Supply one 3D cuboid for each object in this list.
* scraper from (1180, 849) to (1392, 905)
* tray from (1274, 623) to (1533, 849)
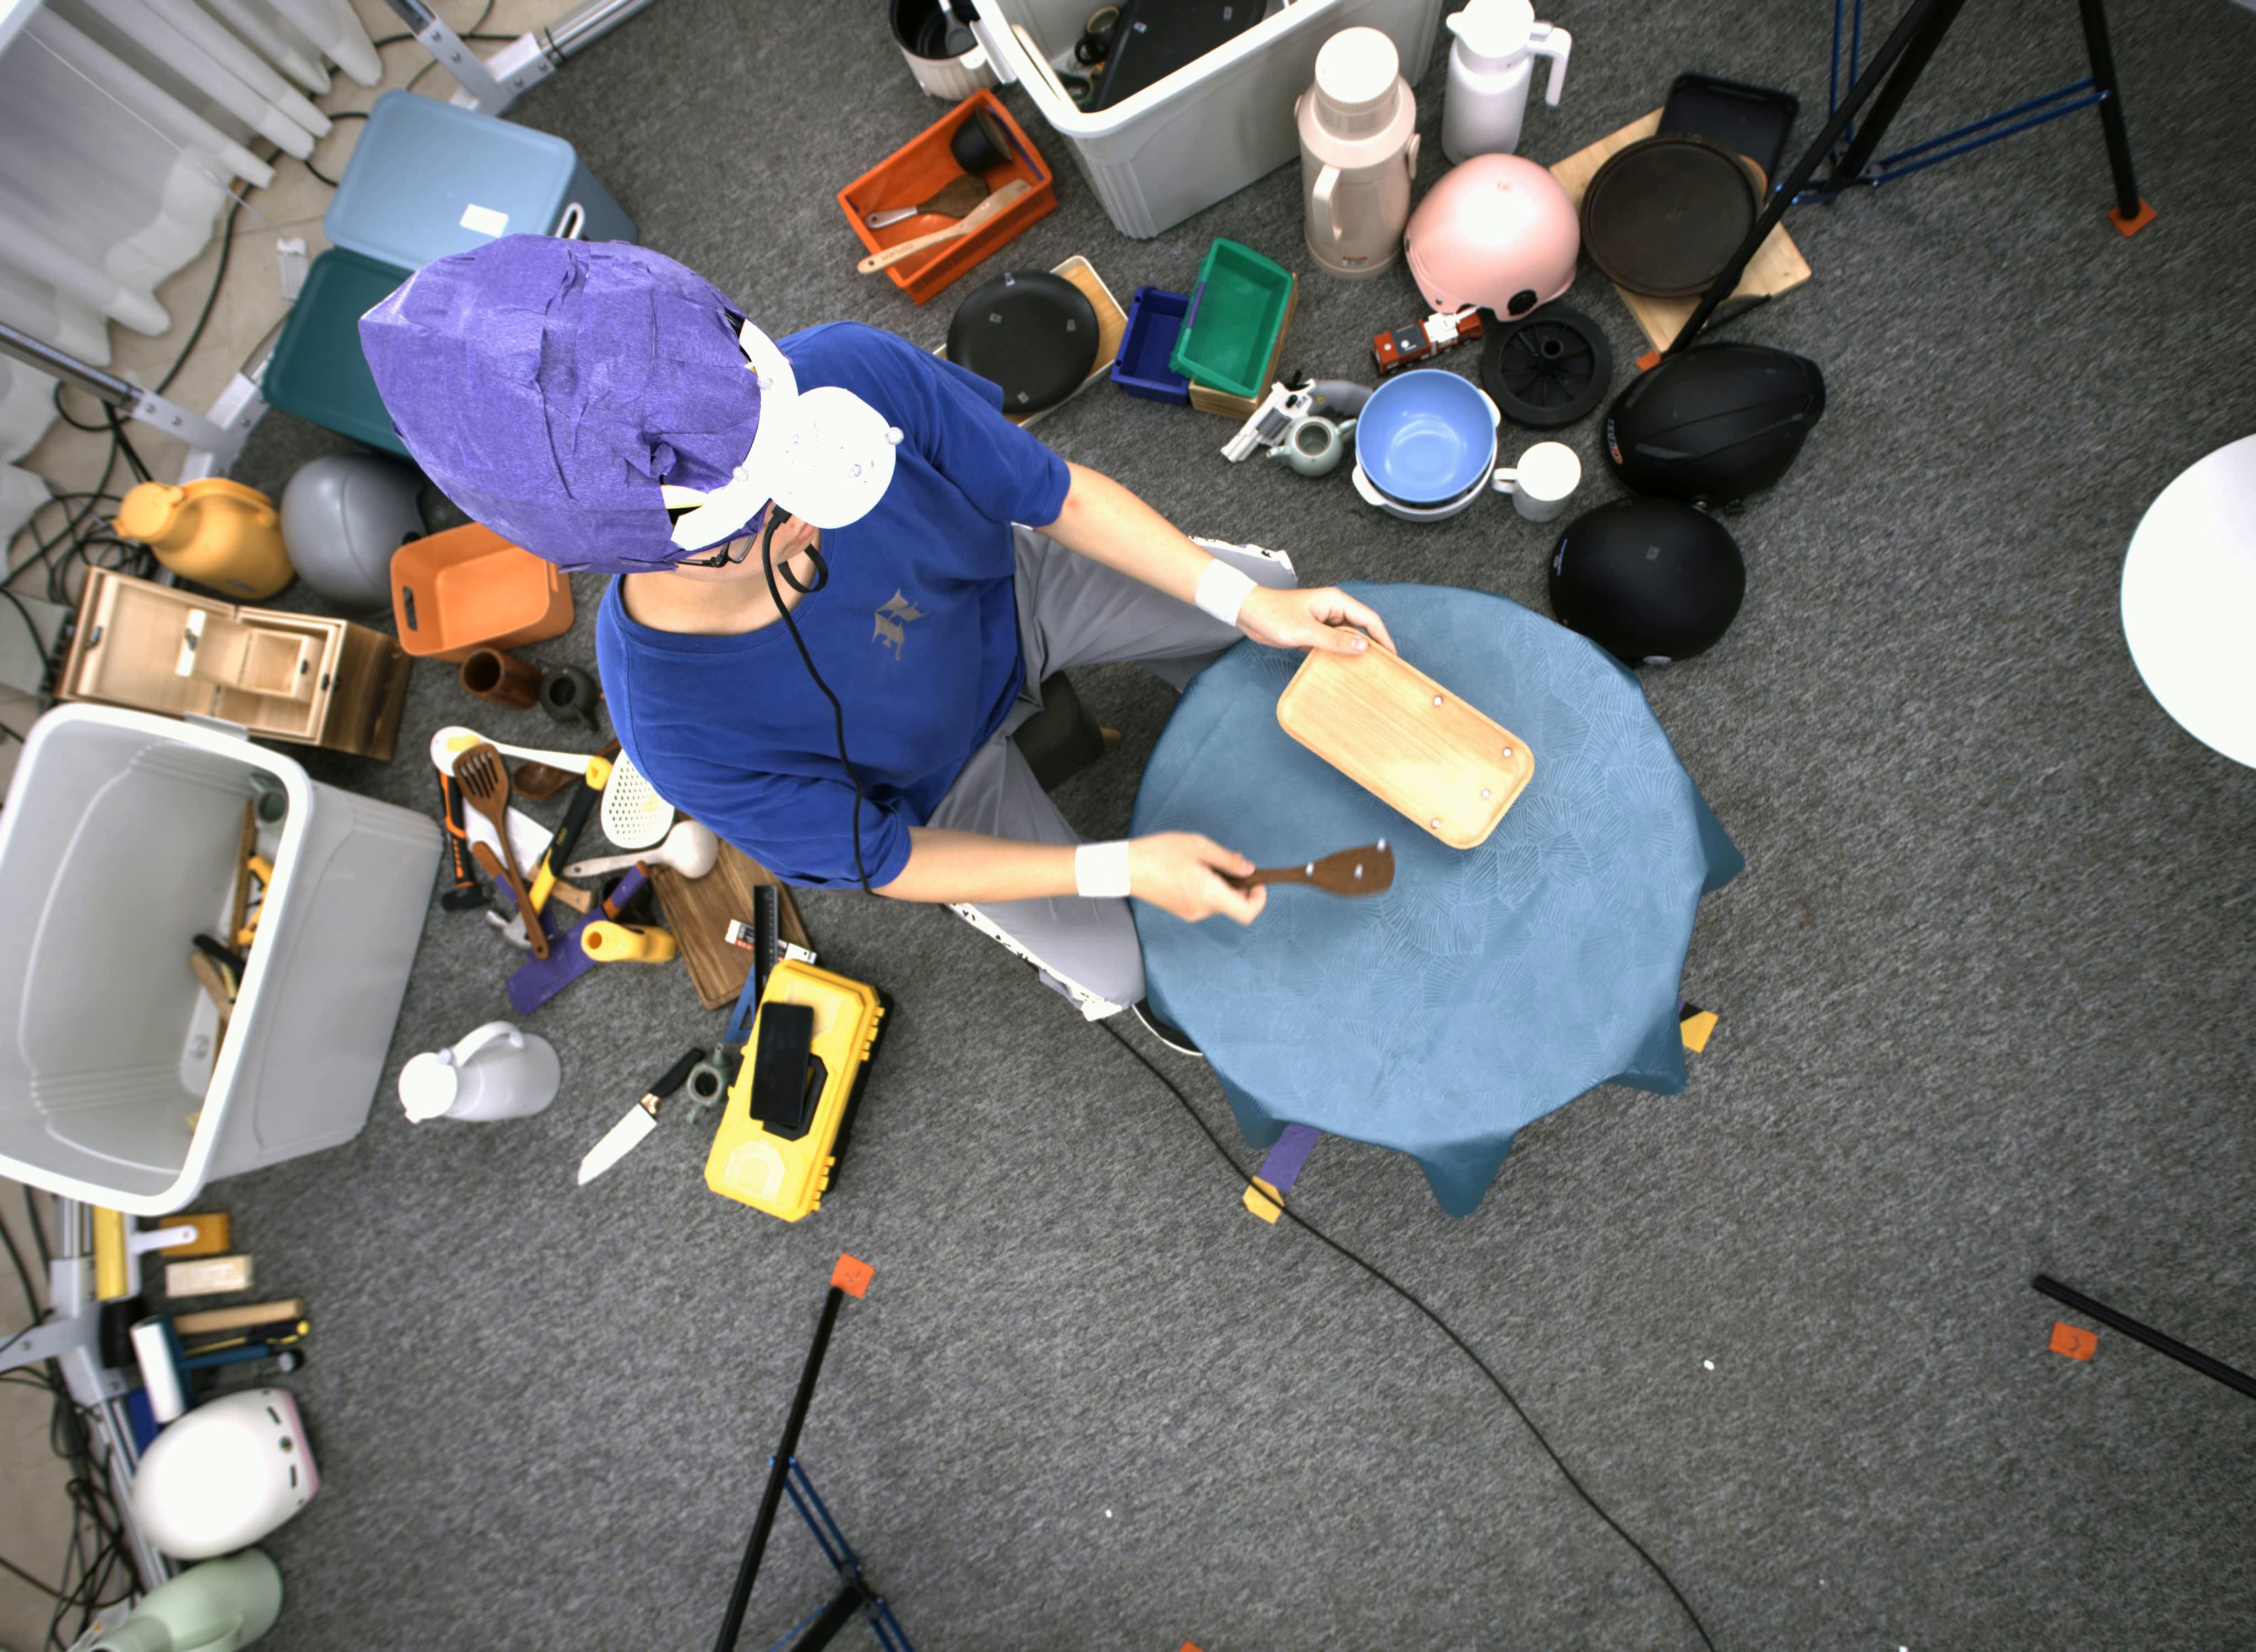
[{"bbox_3d":[0.155,0.054,1.373,0.212,0.011,0.074,-3,42,14],"label":"scraper"},{"bbox_3d":[0.273,-0.091,1.371,0.250,0.022,0.132,37,109,7],"label":"tray"}]
